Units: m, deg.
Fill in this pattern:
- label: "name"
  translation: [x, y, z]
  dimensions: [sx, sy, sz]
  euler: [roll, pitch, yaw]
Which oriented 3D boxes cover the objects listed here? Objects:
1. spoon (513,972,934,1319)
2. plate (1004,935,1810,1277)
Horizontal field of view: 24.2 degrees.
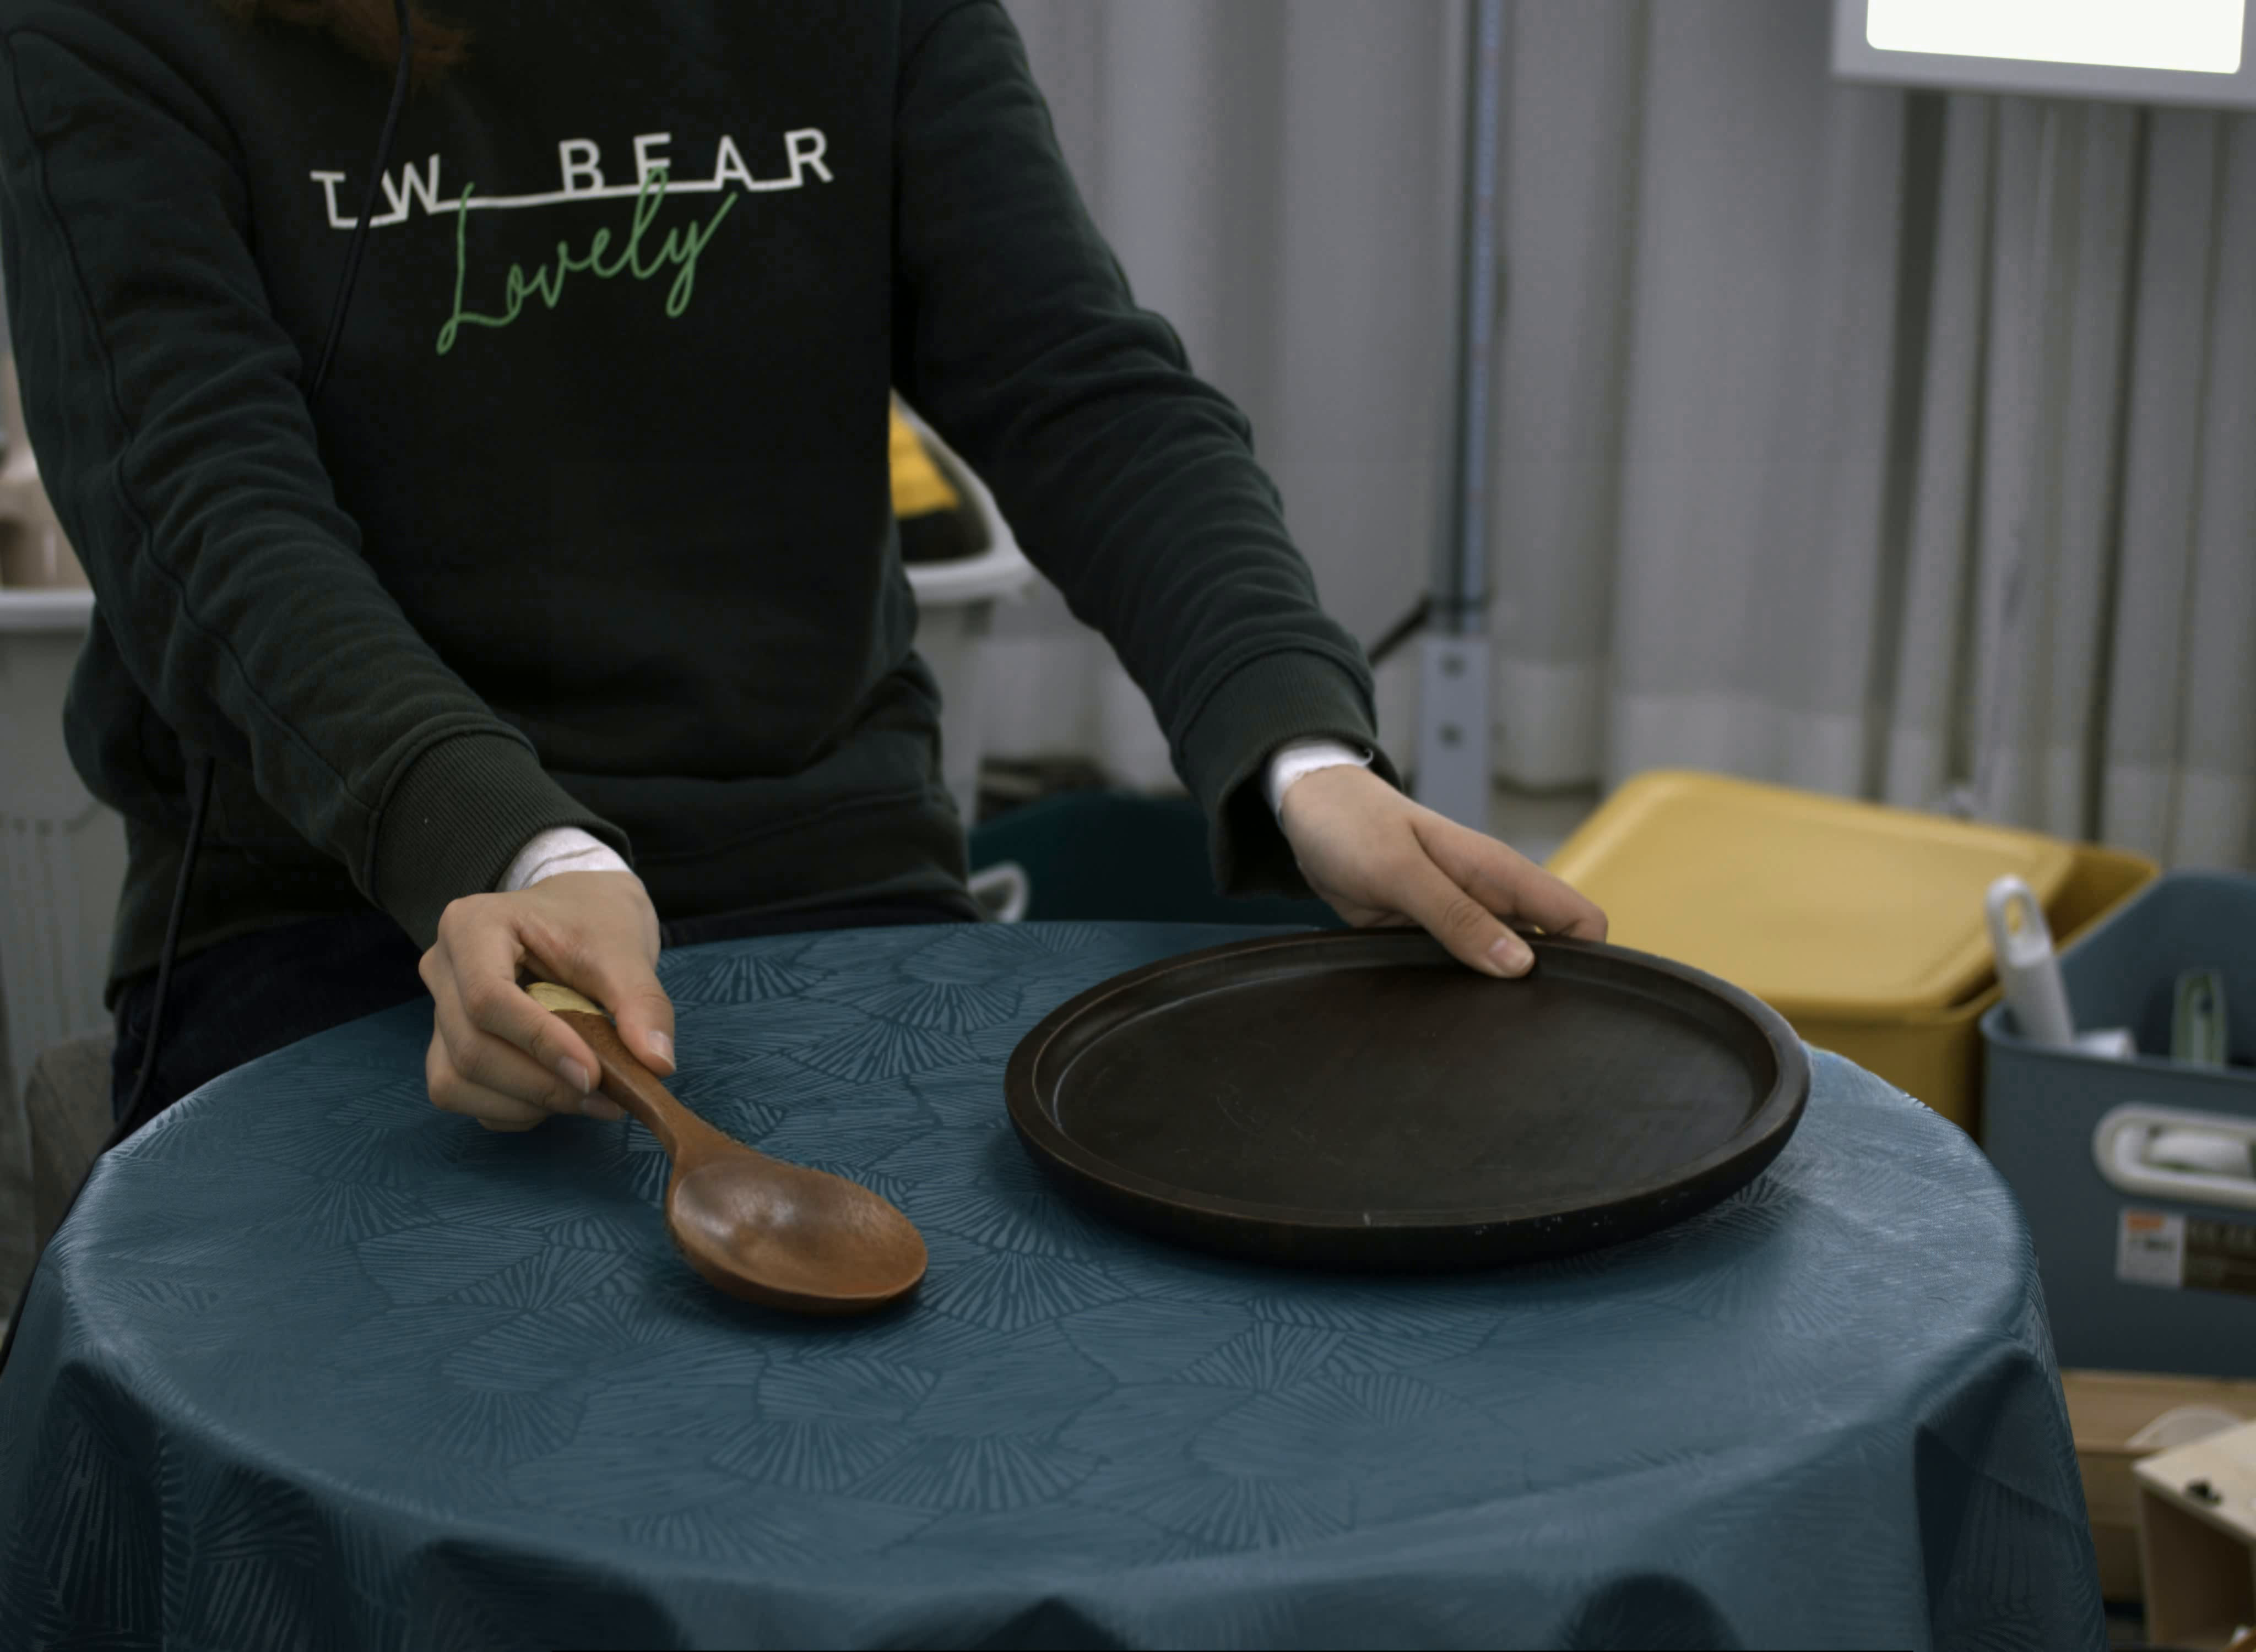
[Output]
- label: "spoon"
  translation: [-0.130, 0.097, 1.587]
  dimensions: [0.076, 0.017, 0.213]
  euler: [-6, 29, -33]
- label: "plate"
  translation: [0.087, 0.085, 1.657]
  dimensions: [0.254, 0.029, 0.253]
  euler: [0, 21, 1]
